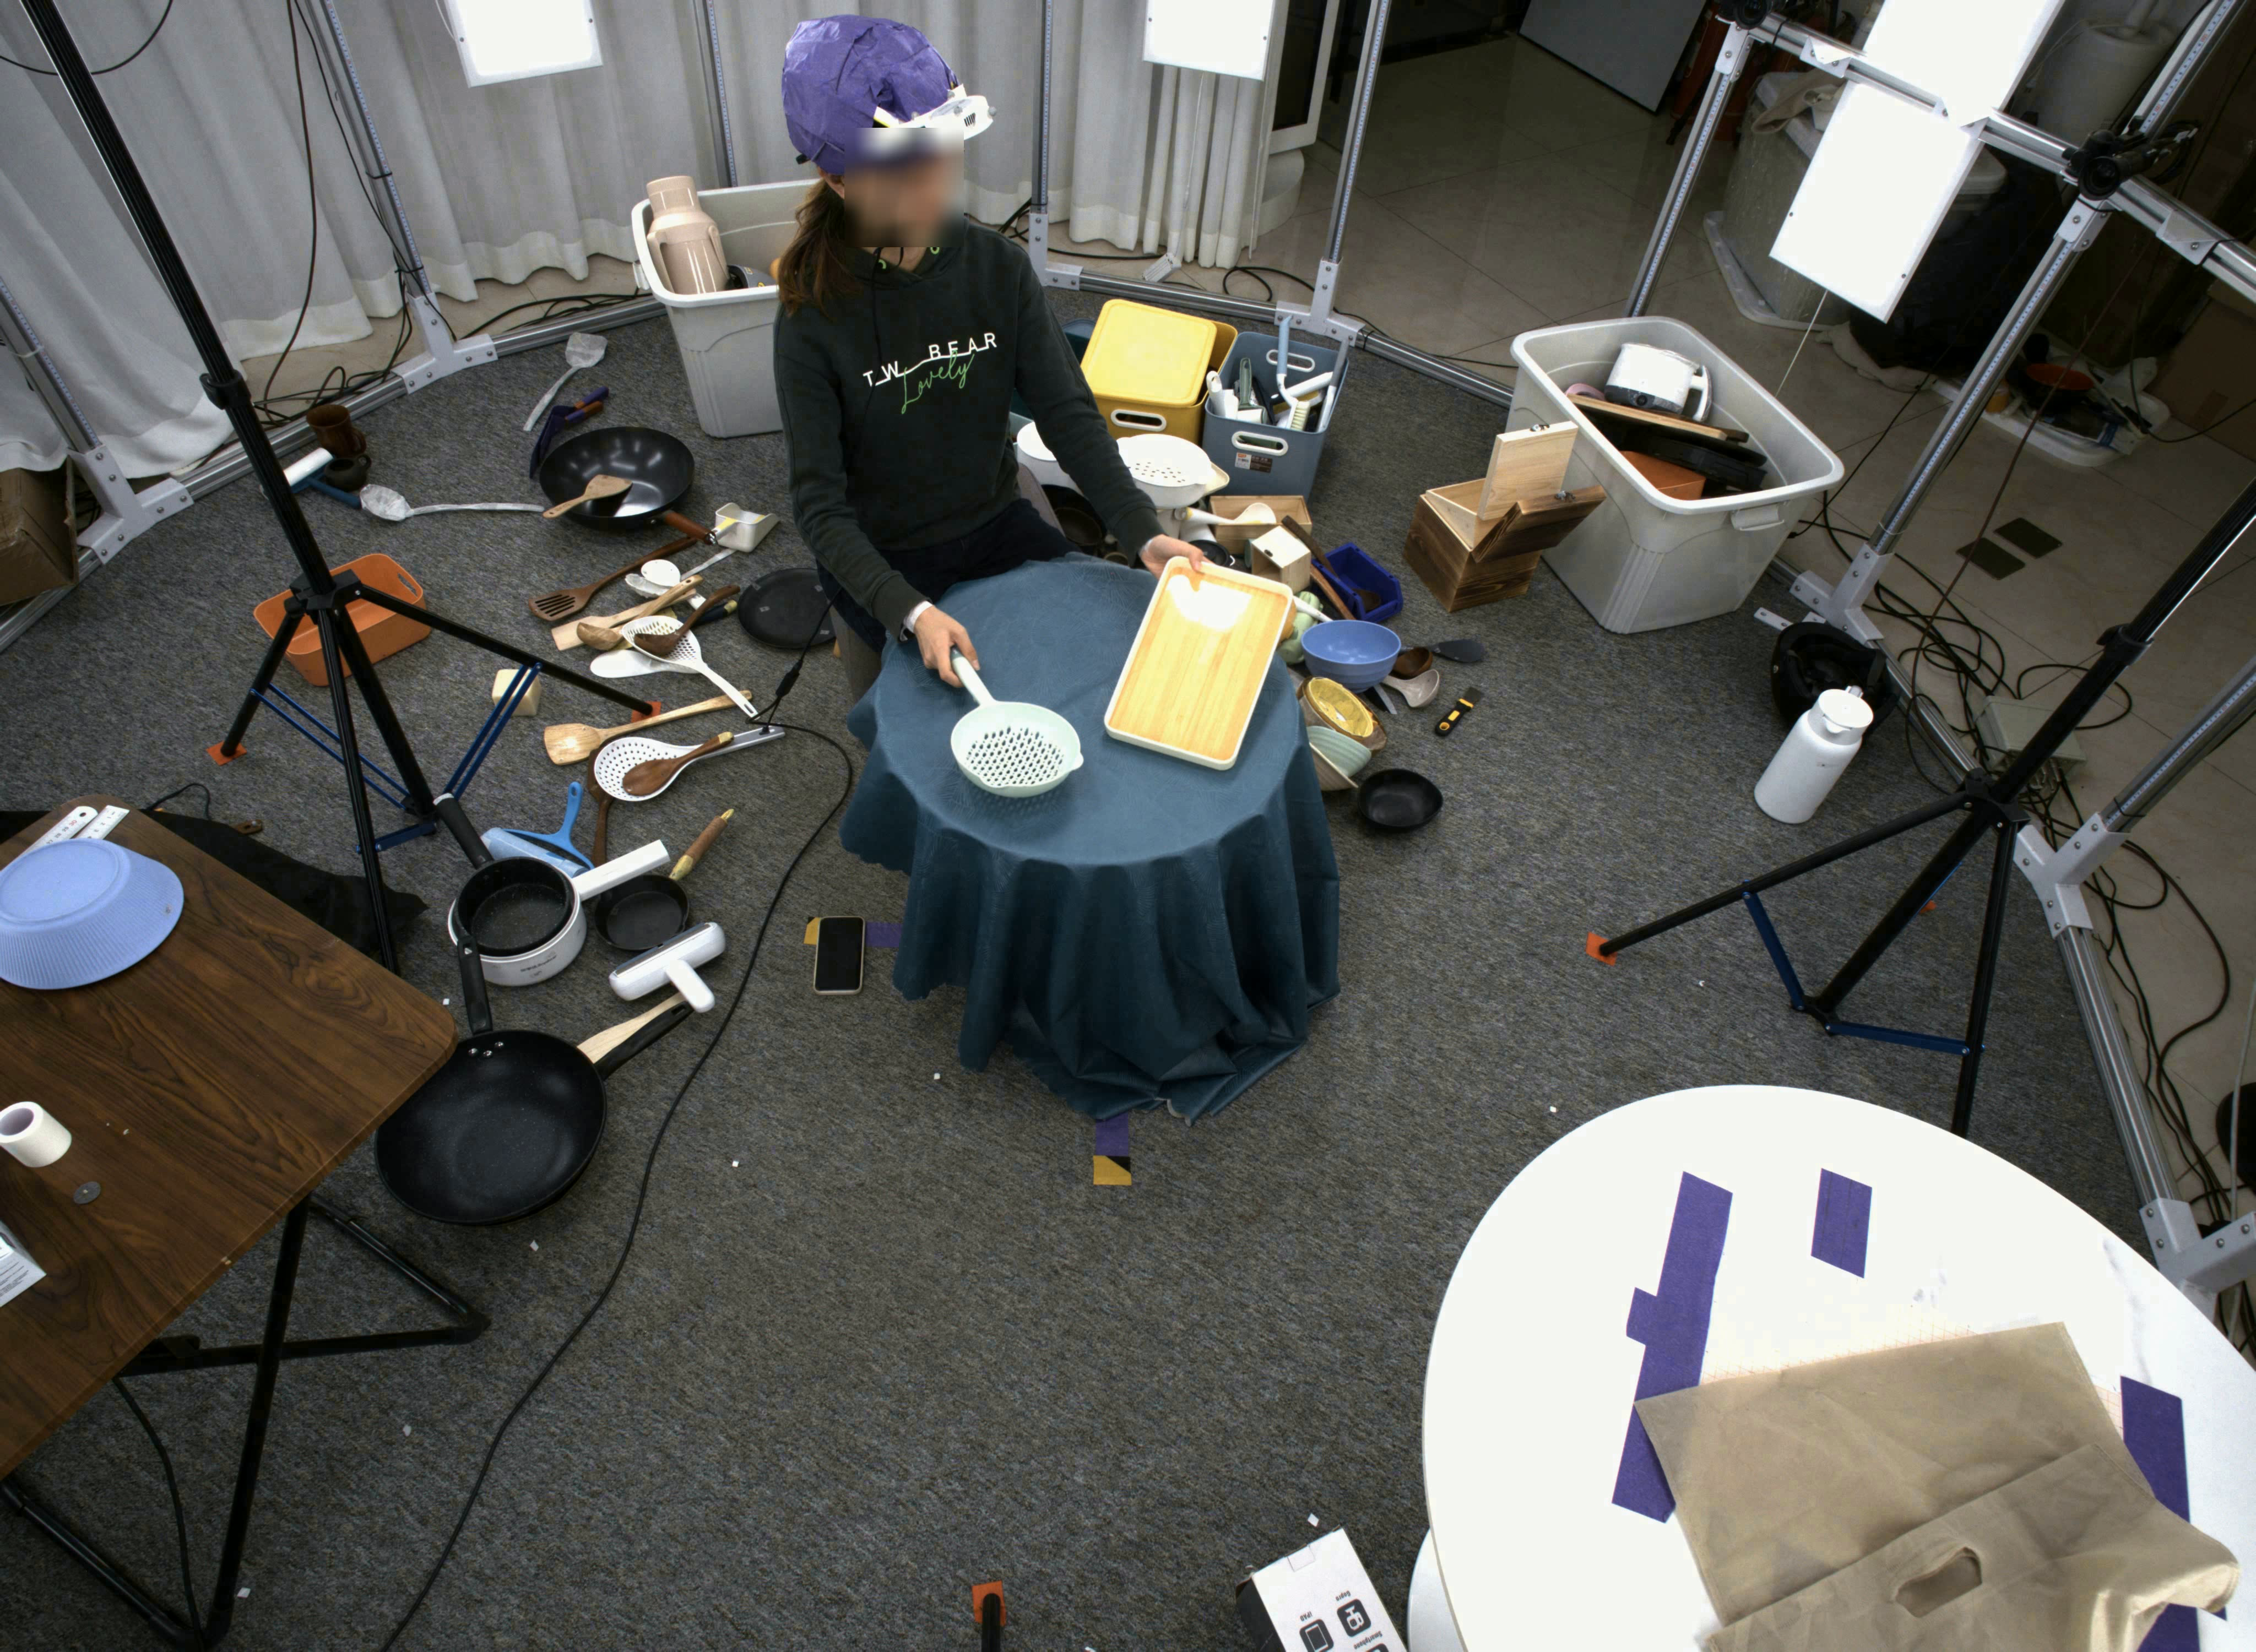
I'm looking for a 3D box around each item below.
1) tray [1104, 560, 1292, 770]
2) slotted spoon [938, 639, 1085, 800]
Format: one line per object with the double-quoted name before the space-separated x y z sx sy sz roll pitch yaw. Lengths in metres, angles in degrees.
"tray" 0.102 -0.233 1.821 0.192 0.027 0.305 17 66 11
"slotted spoon" -0.191 -0.161 1.762 0.169 0.073 0.367 -14 54 -23
